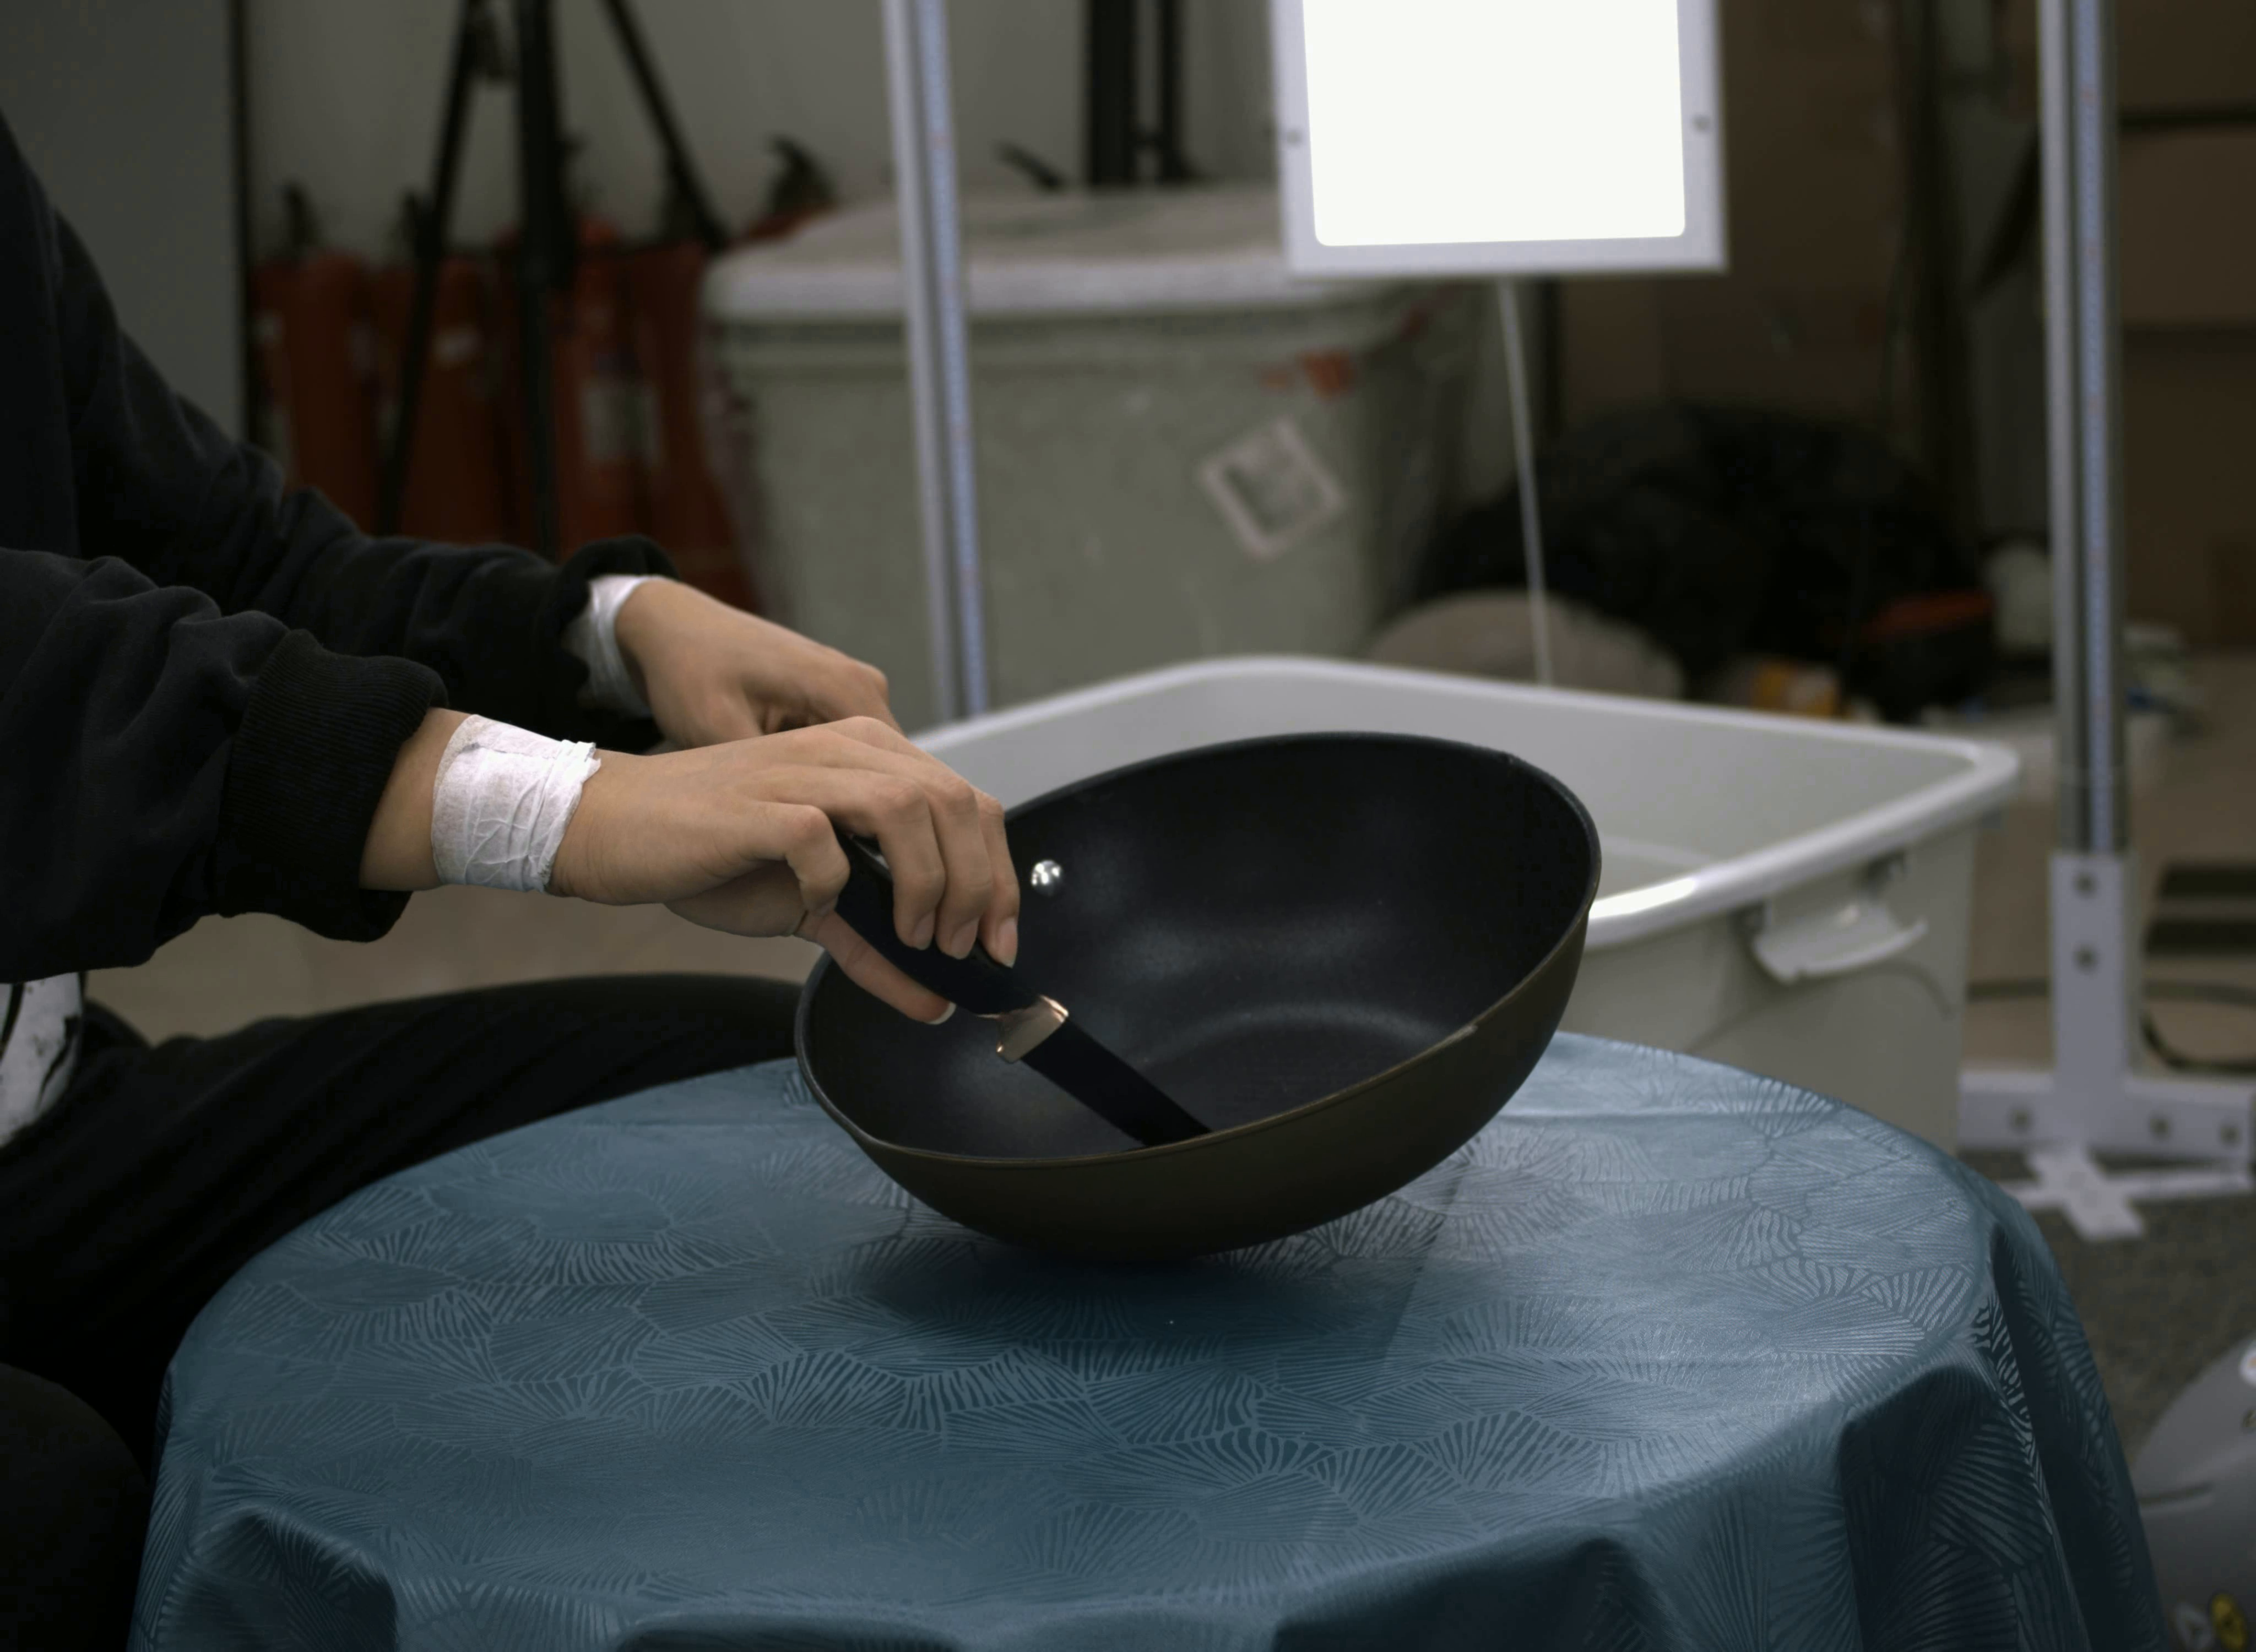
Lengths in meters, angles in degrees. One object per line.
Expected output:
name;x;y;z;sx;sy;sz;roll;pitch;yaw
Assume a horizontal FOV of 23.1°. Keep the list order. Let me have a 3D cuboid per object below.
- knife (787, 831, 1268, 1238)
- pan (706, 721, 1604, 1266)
knife;-0.026;0.067;1.718;0.026;0.222;0.017;-45;30;11
pan;-0.021;0.050;1.944;0.283;0.087;0.472;-30;28;-25
